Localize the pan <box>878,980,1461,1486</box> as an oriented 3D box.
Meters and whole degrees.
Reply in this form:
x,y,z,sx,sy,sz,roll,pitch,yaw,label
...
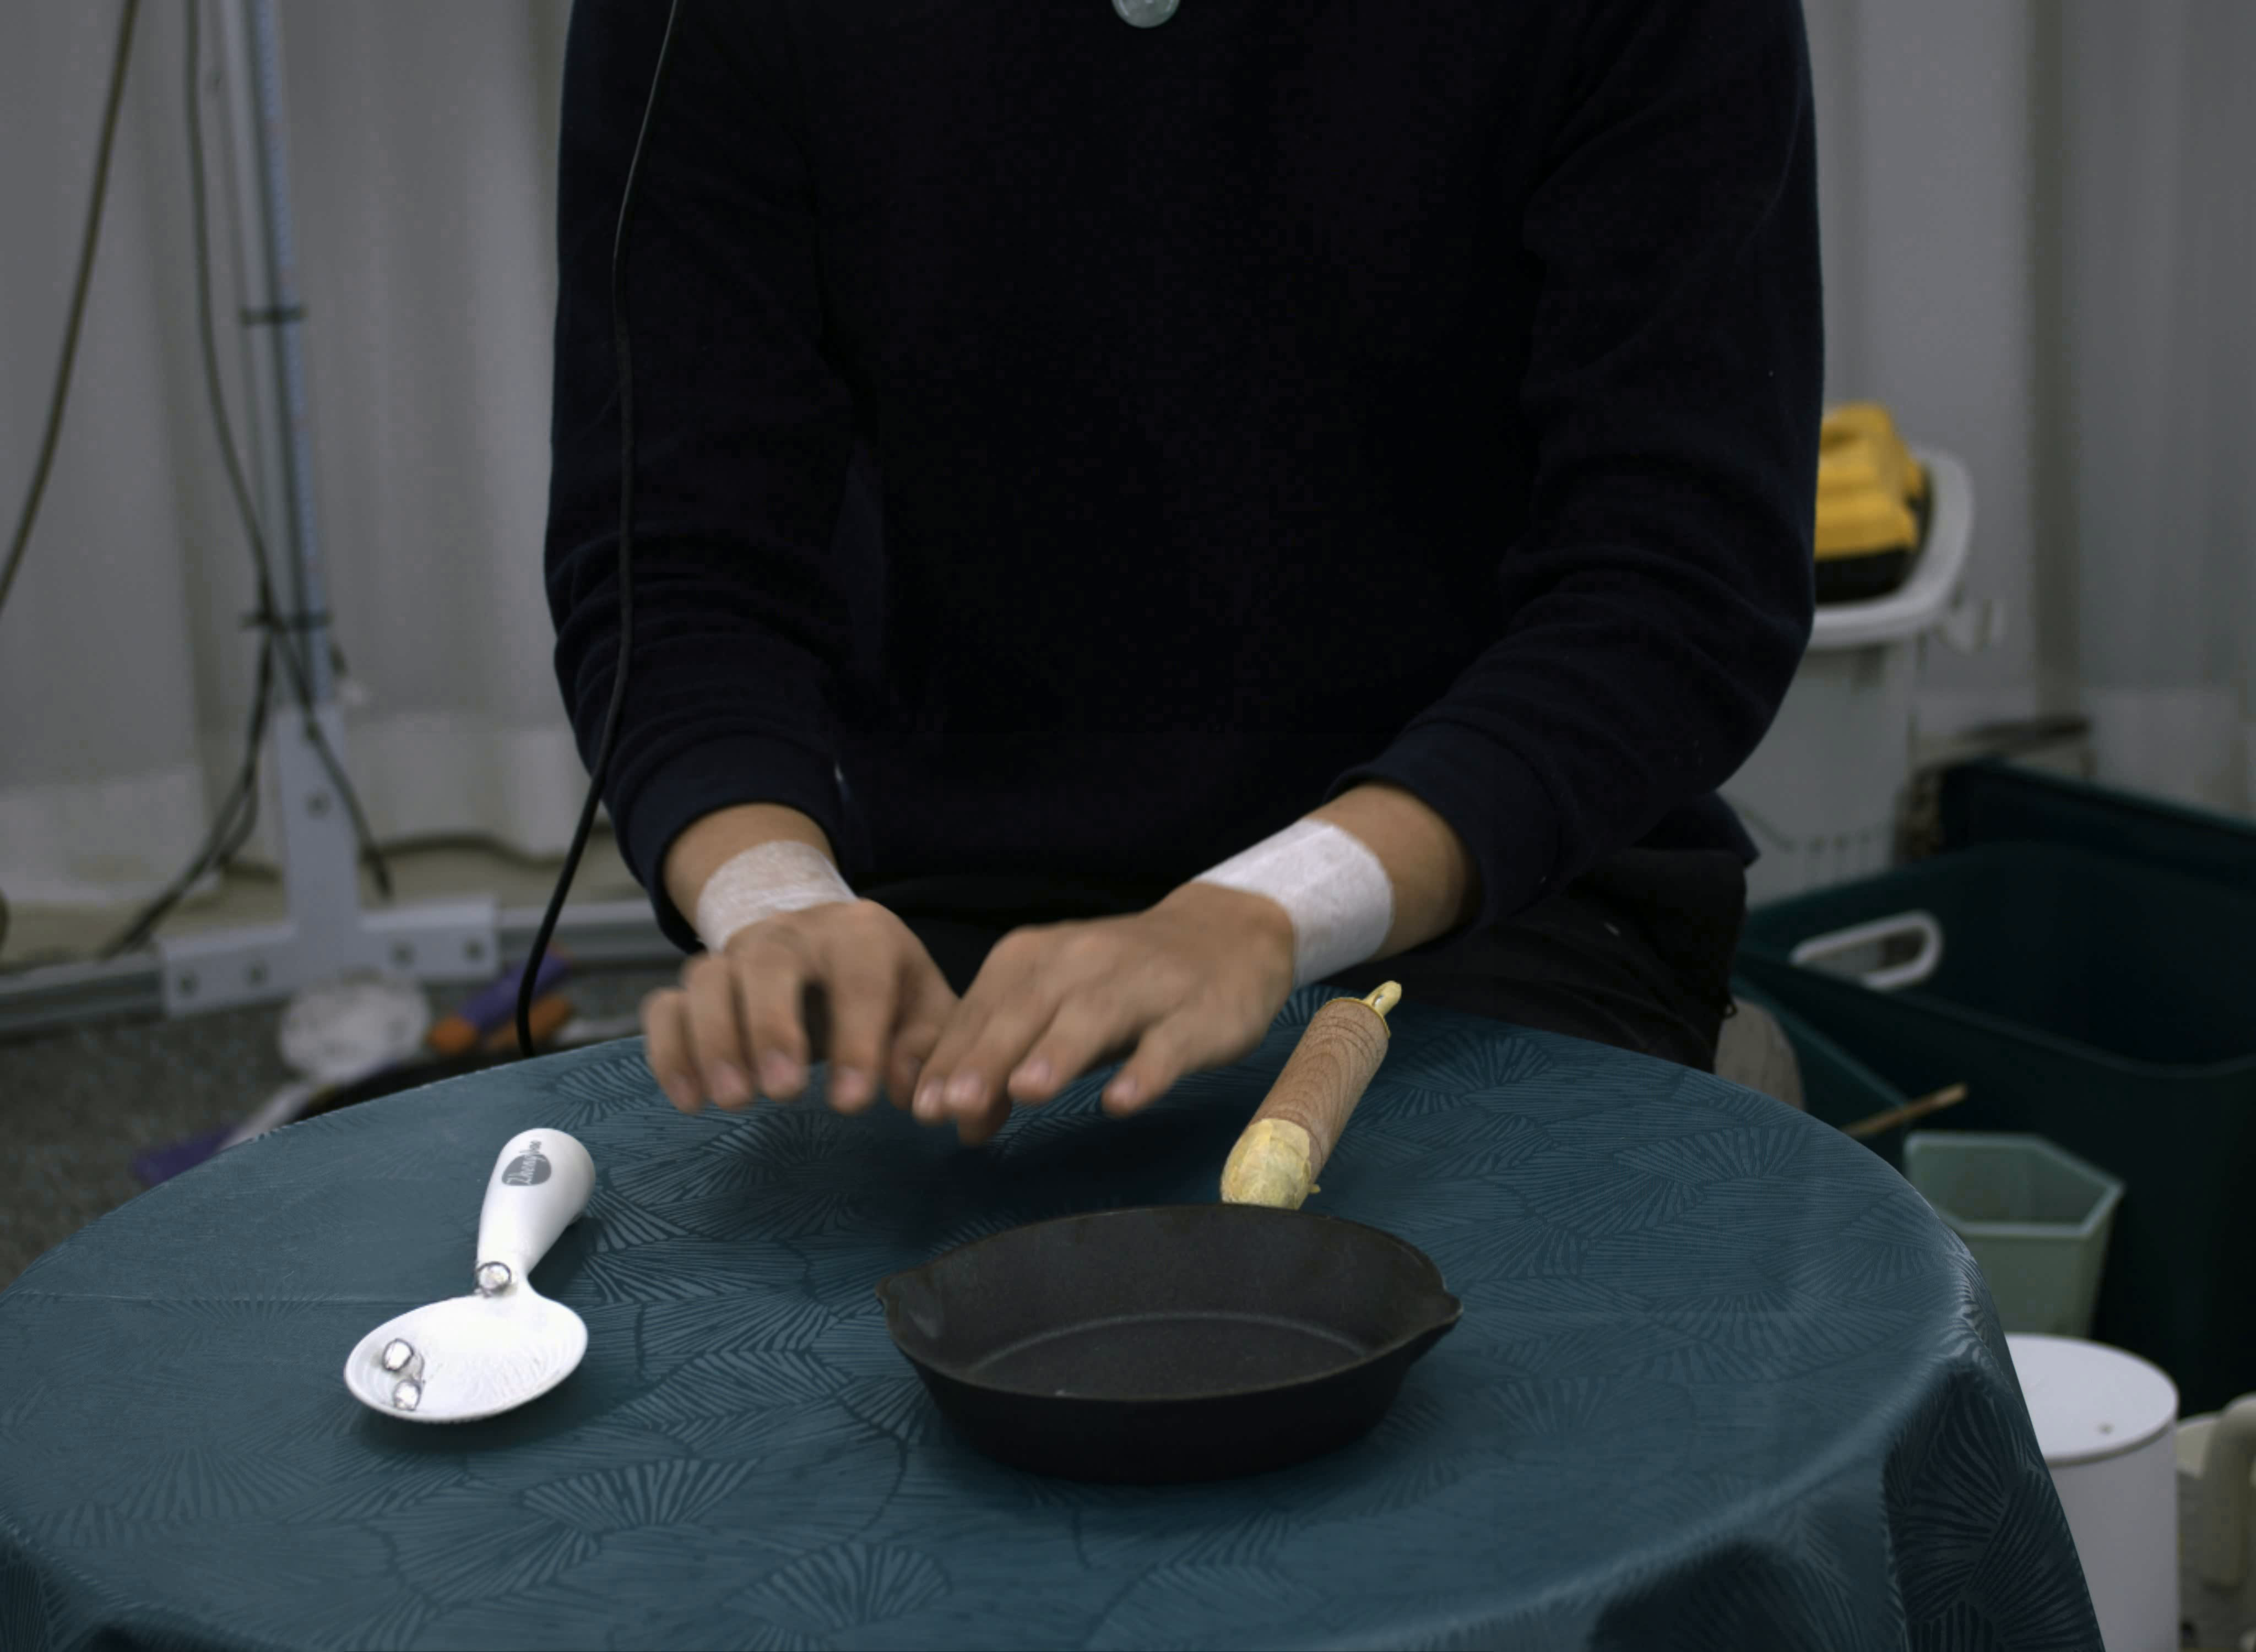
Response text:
x,y,z,sx,sy,sz,roll,pitch,yaw,label
0.036,0.116,1.607,0.169,0.049,0.325,2,17,18,pan

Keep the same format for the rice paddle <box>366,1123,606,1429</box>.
x,y,z,sx,sy,sz,roll,pitch,yaw,label
-0.183,0.136,1.628,0.068,0.029,0.207,-4,16,2,rice paddle
